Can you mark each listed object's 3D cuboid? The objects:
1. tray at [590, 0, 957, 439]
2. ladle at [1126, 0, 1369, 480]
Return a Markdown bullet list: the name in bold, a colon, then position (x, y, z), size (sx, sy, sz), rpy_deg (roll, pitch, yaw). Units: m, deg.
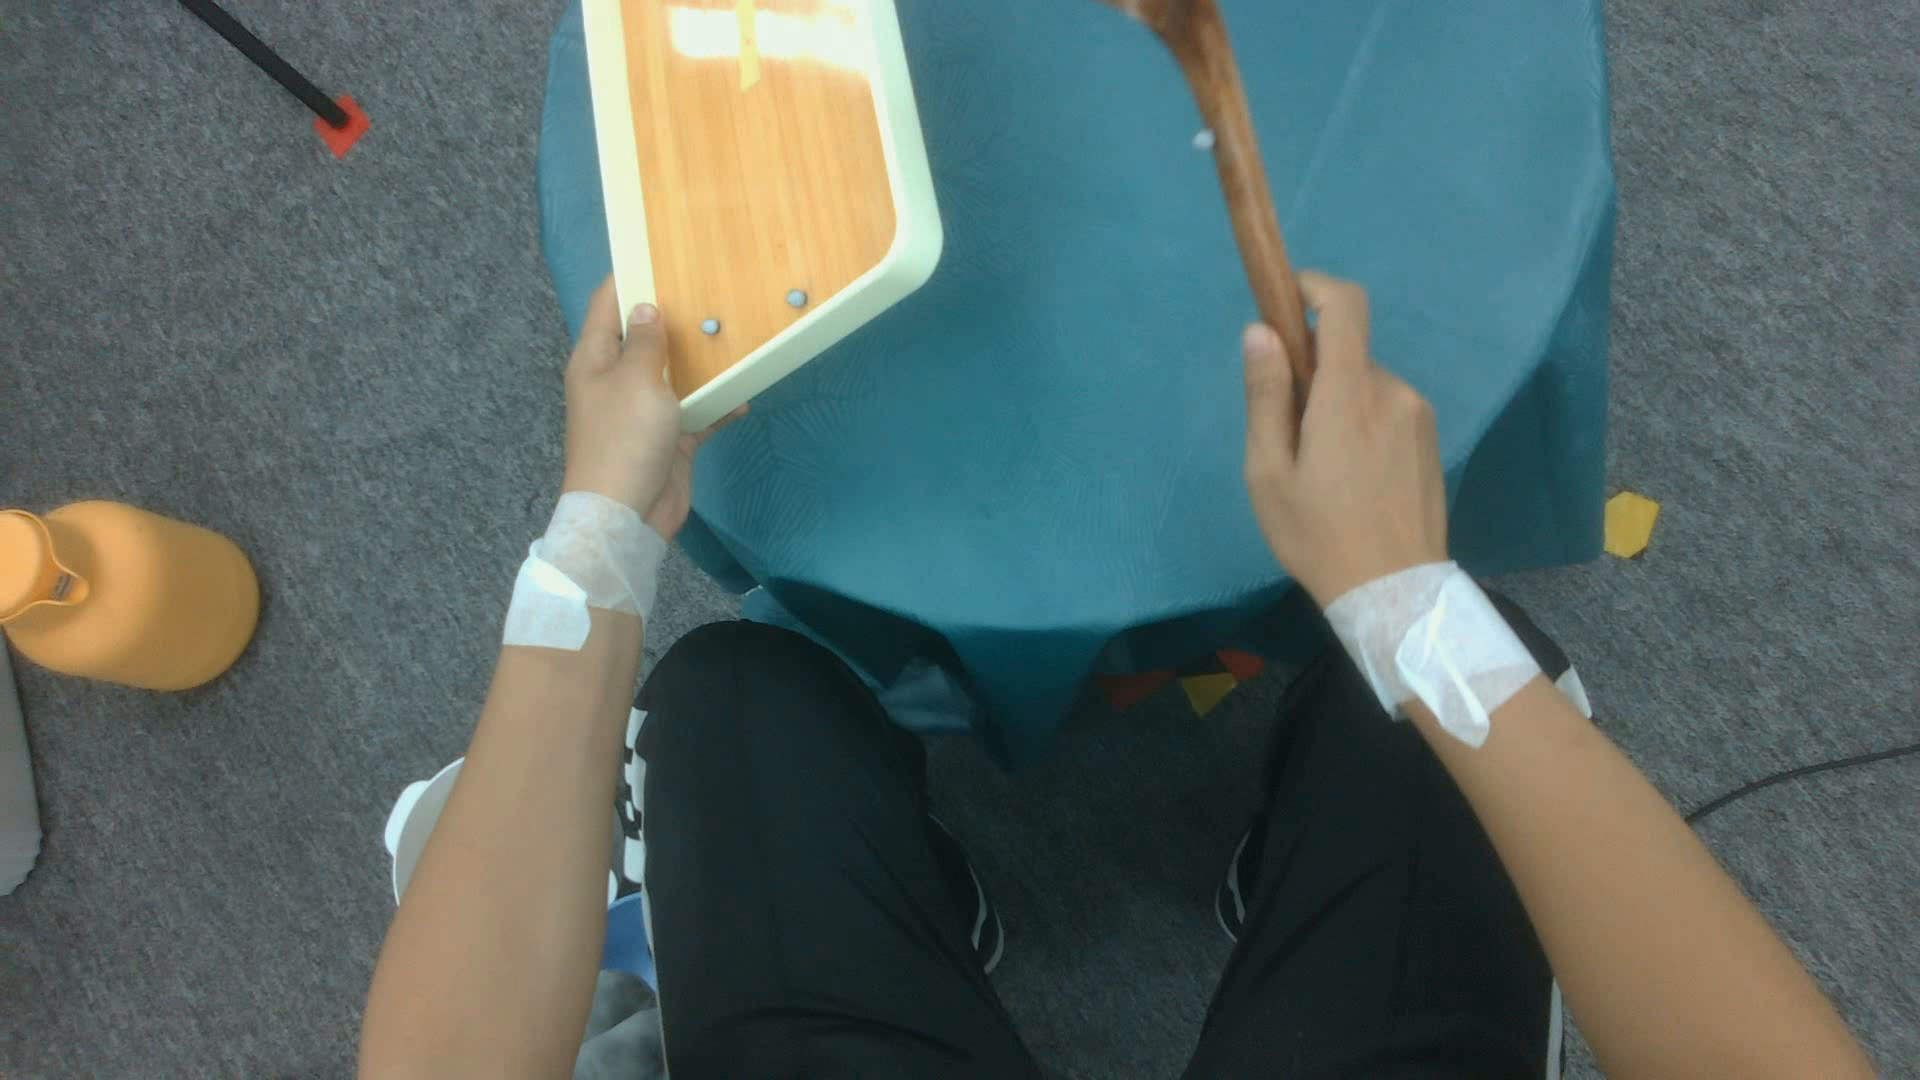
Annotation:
- **tray**: position (-0.104, -0.217, 0.683), size (0.191, 0.027, 0.301), rpy_deg (-25, 67, 34)
- **ladle**: position (0.100, -0.138, 0.571), size (0.076, 0.082, 0.273), rpy_deg (-22, 106, -4)
